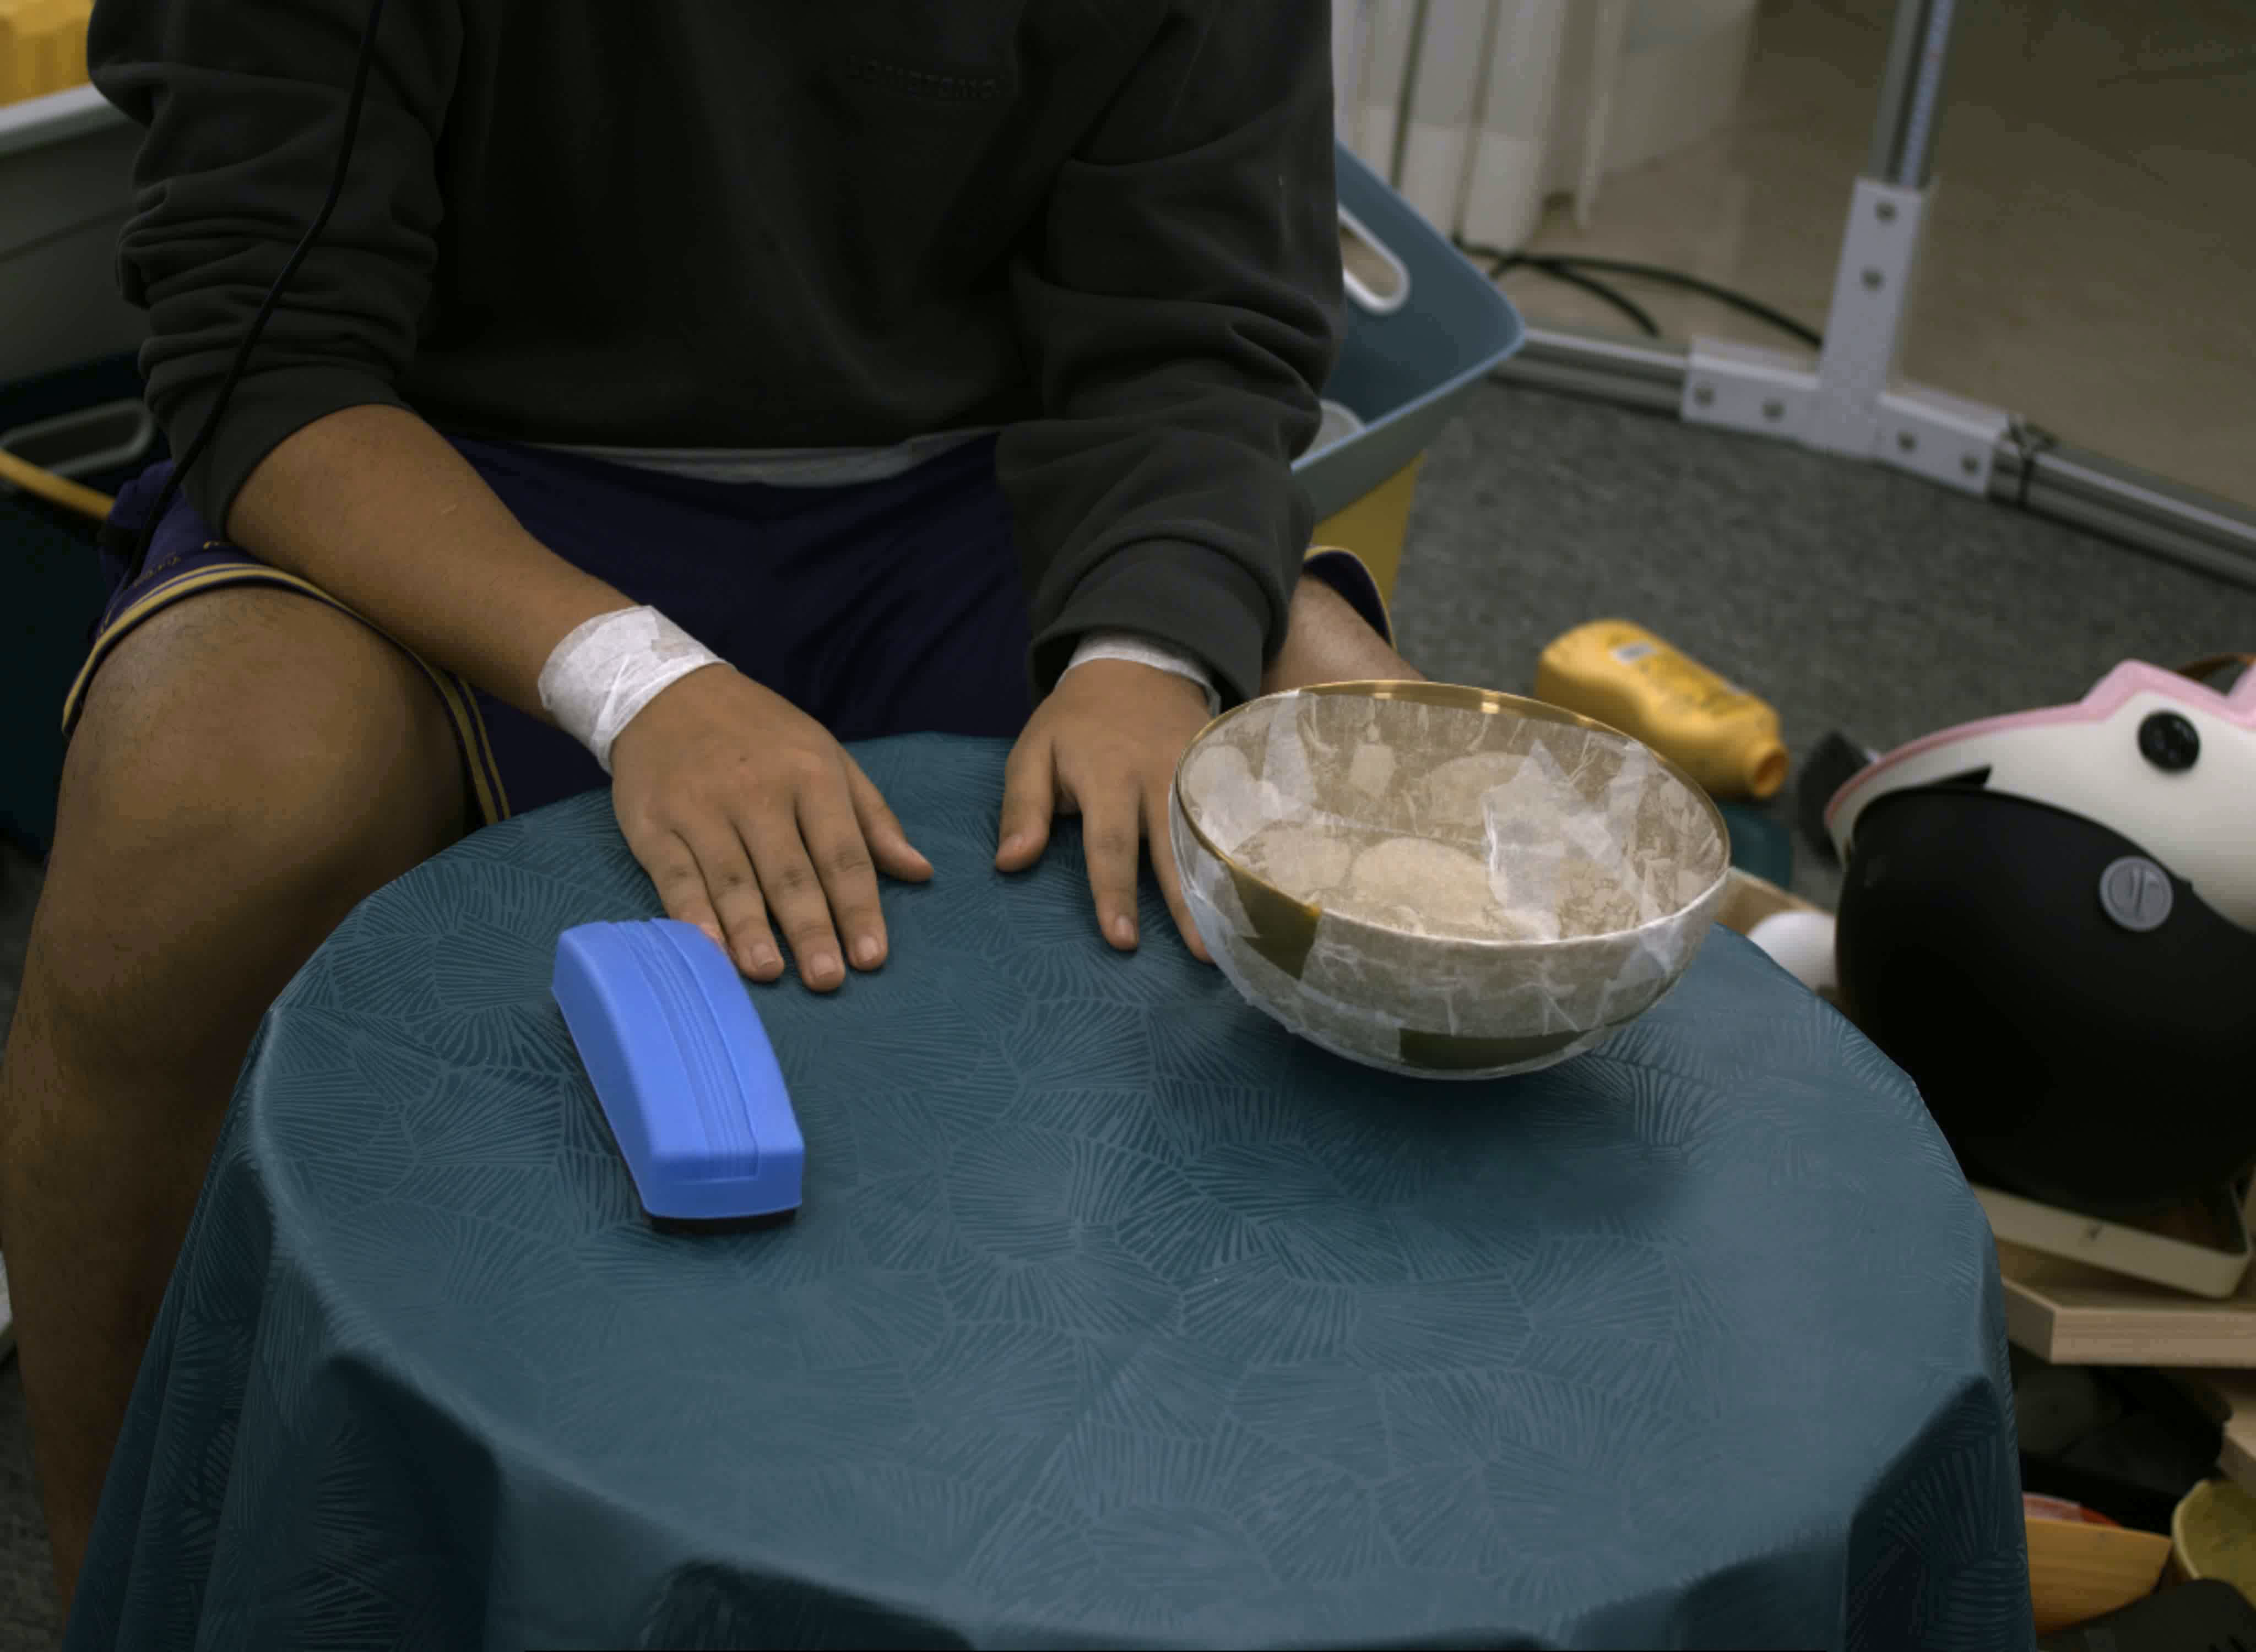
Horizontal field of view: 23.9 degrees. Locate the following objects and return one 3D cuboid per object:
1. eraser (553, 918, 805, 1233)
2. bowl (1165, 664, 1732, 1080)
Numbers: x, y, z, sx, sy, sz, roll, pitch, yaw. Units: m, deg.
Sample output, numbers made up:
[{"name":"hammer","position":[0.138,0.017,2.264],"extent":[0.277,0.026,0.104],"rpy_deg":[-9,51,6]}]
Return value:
[{"name":"eraser","position":[-0.154,0.078,1.806],"extent":[0.053,0.047,0.163],"rpy_deg":[-5,29,-17]},{"name":"bowl","position":[0.110,0.029,1.909],"extent":[0.214,0.094,0.216],"rpy_deg":[4,27,-3]}]
